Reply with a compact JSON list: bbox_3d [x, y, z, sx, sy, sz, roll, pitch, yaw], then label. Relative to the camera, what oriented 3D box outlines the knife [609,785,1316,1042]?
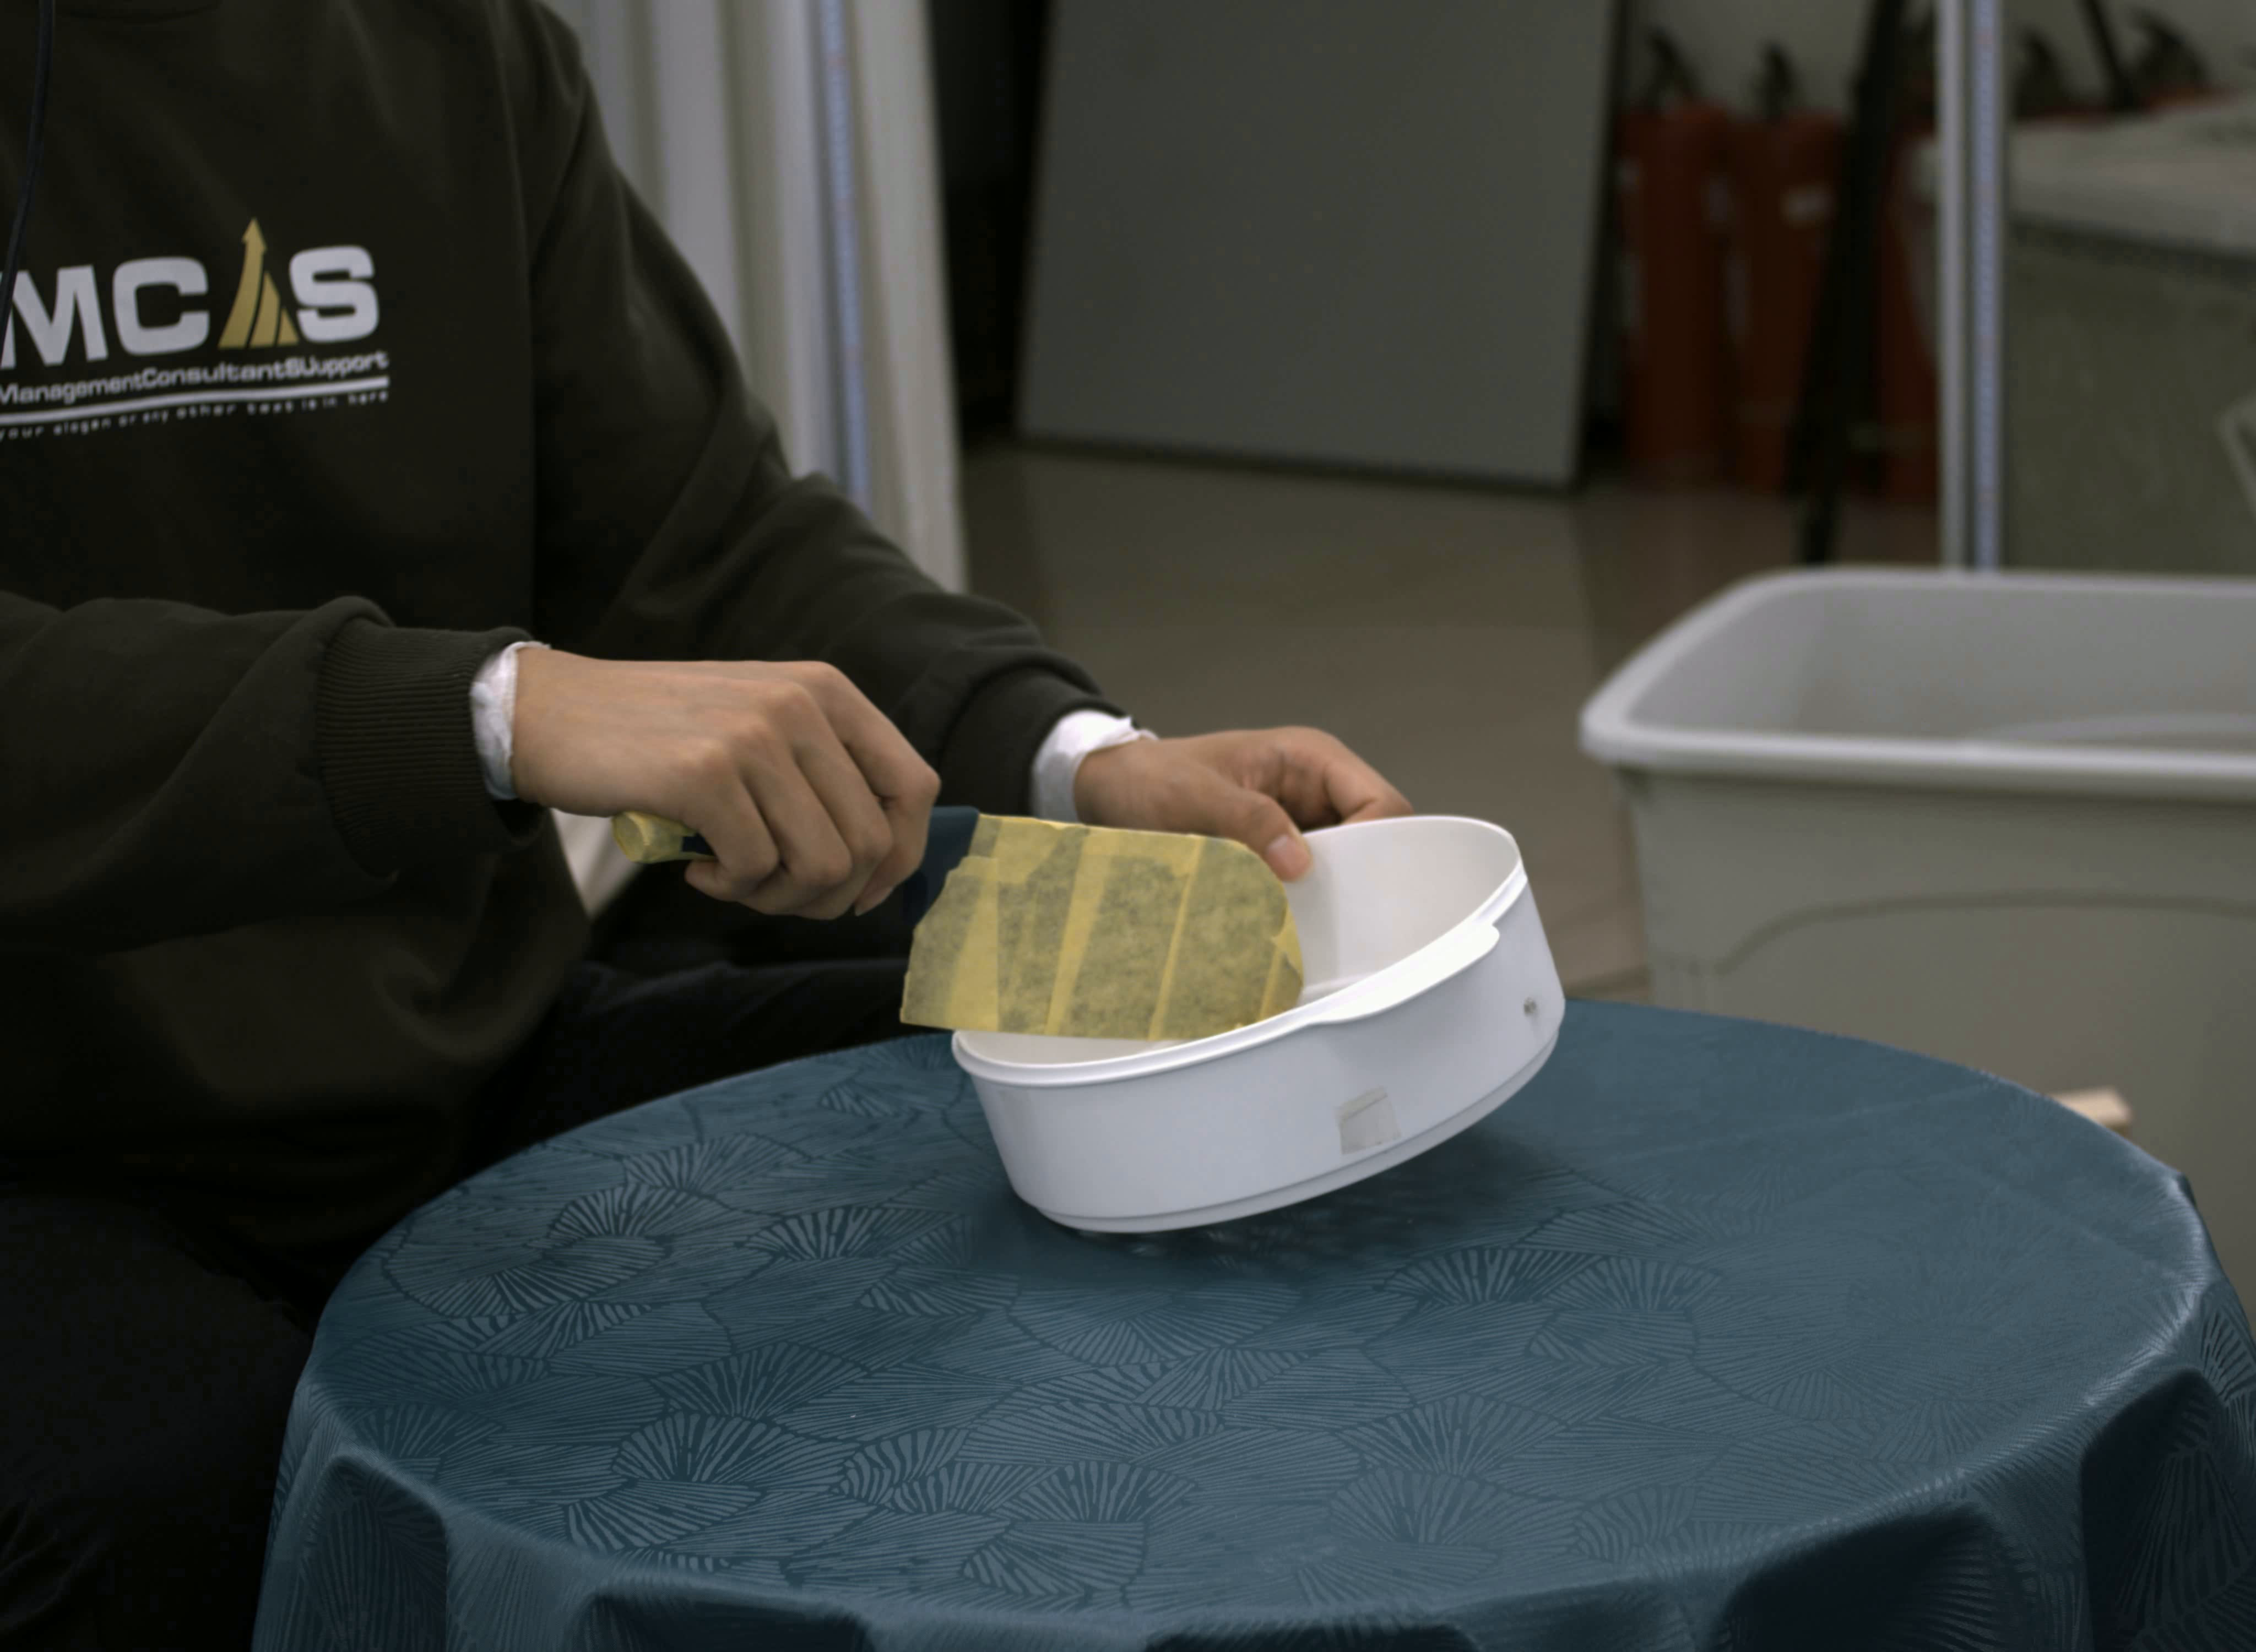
[{"bbox_3d":[-0.048,0.029,1.757,0.283,0.082,0.027,10,6,-36],"label":"knife"}]

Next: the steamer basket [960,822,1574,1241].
[{"bbox_3d":[0.048,0.067,1.760,0.198,0.070,0.233,-27,14,-27],"label":"steamer basket"}]
